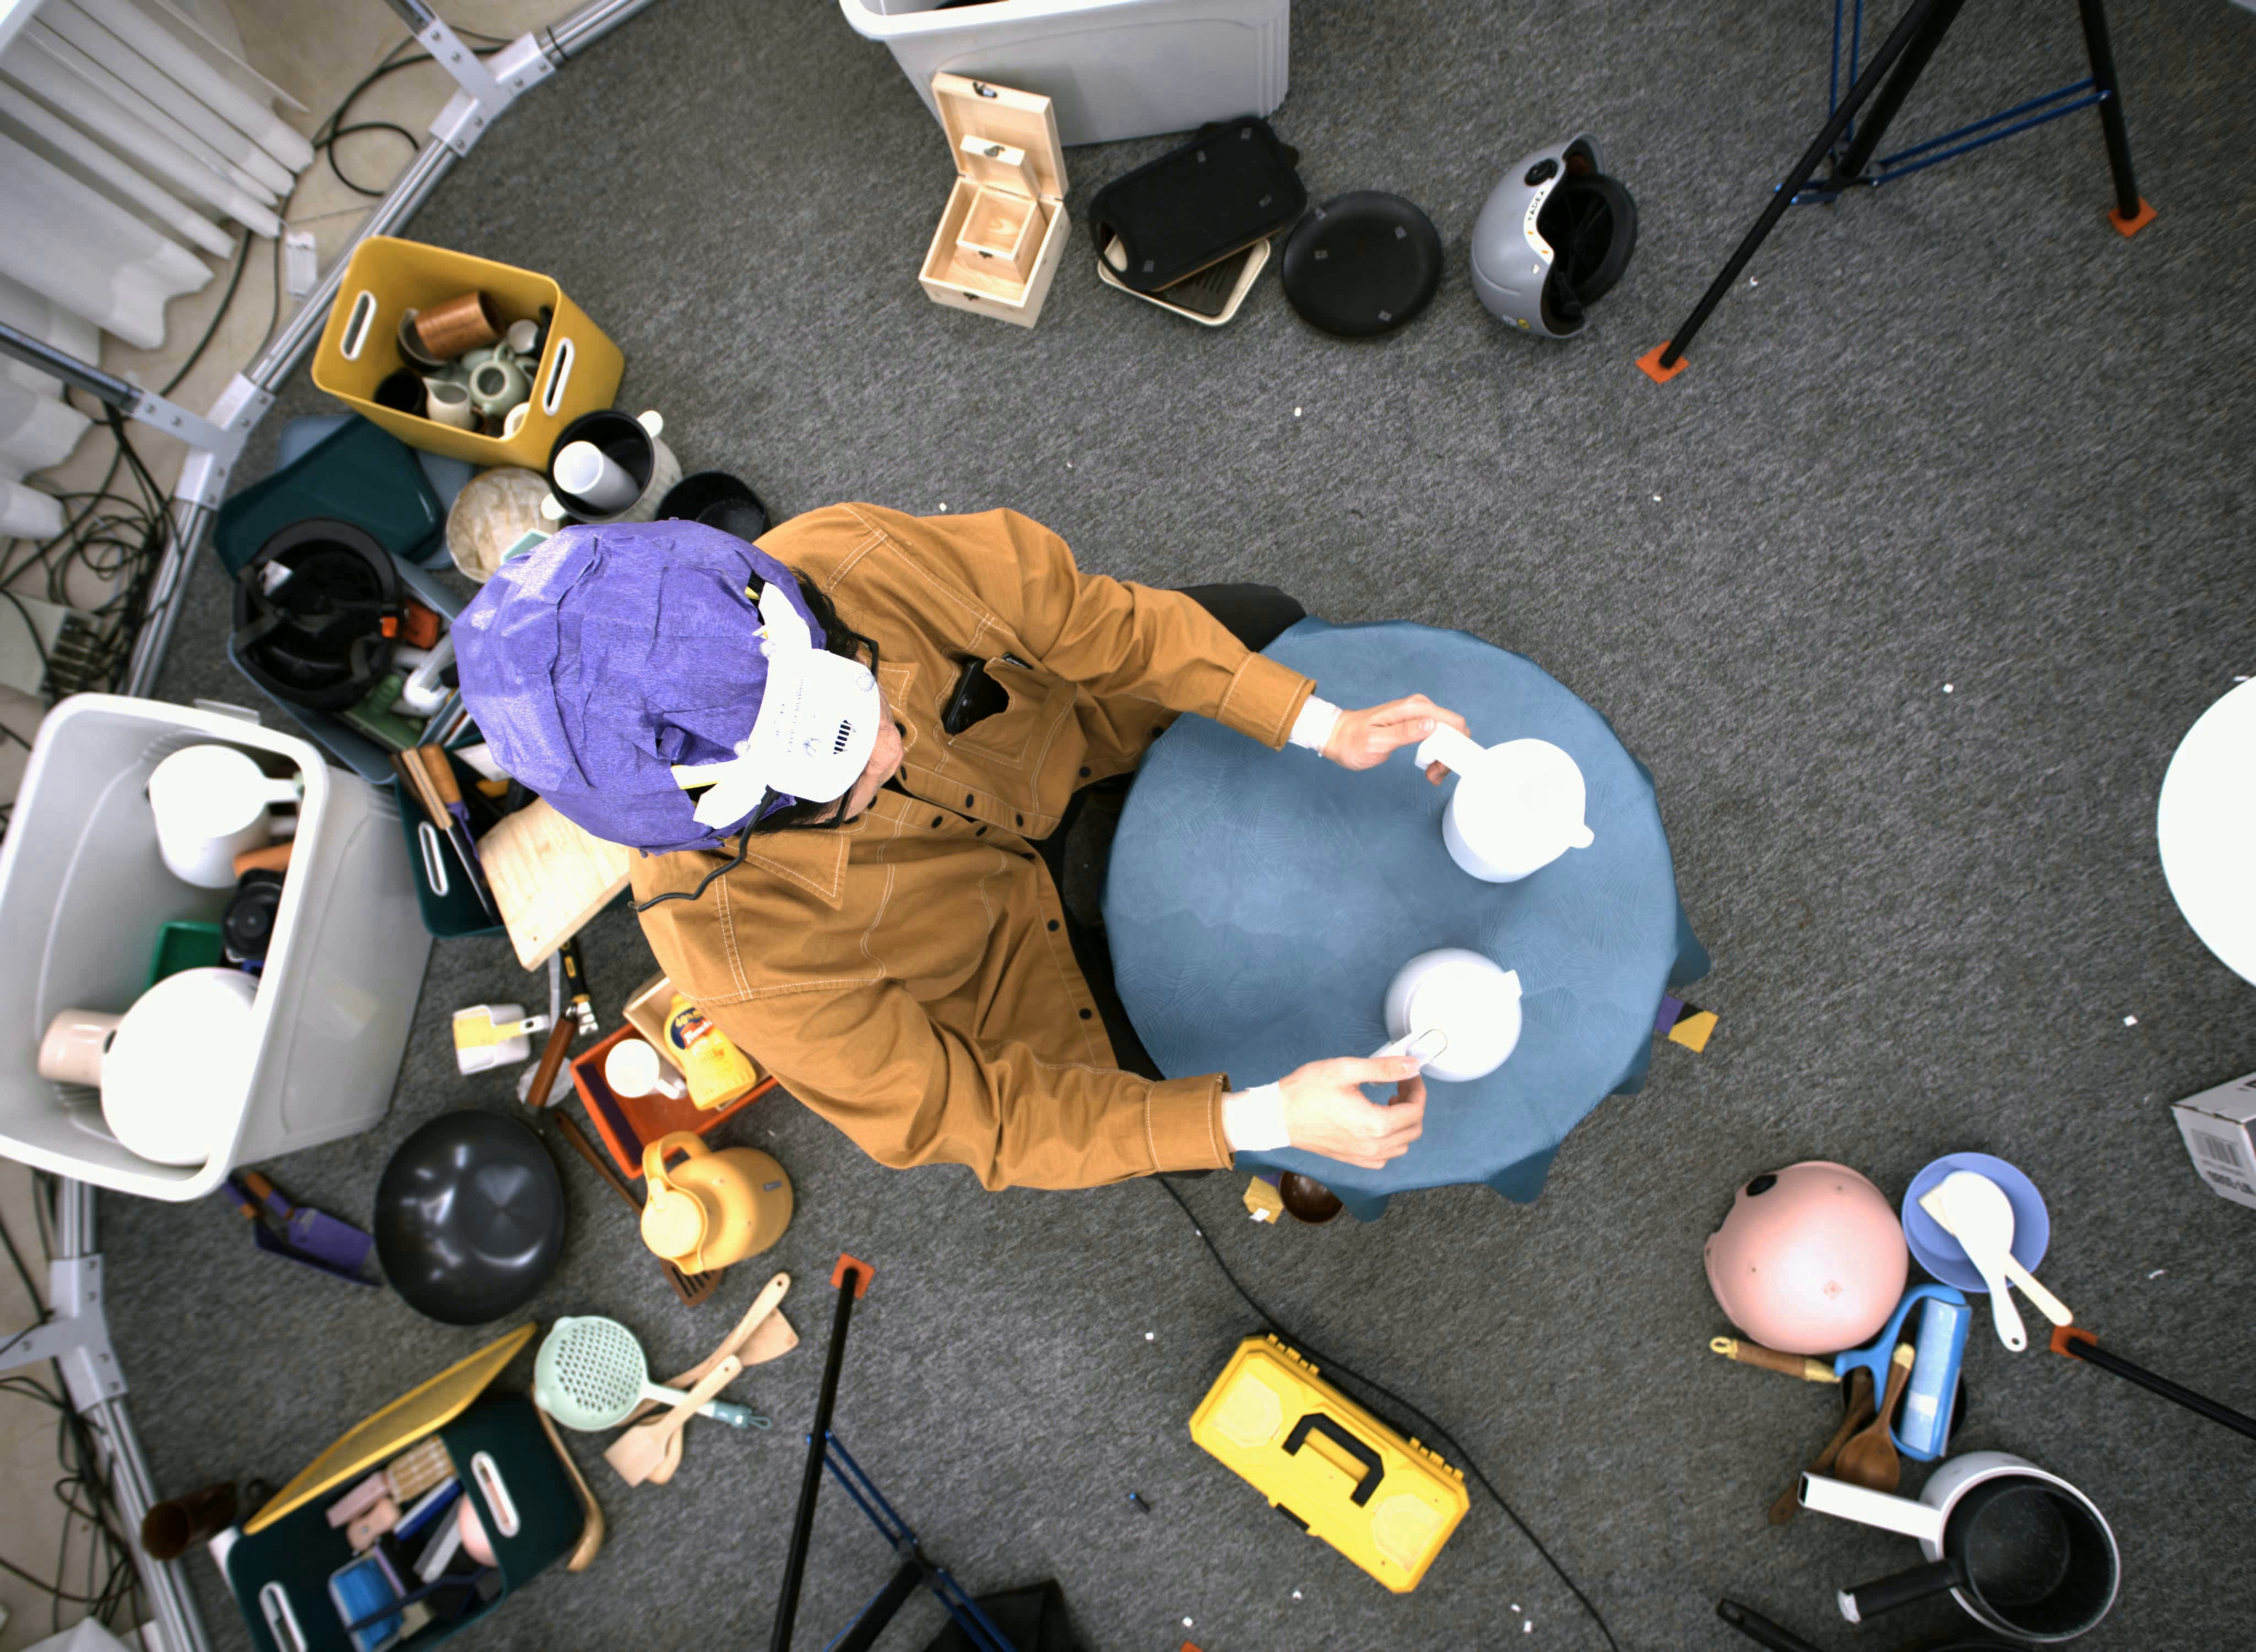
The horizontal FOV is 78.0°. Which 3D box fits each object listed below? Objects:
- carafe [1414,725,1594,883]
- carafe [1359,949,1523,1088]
[{"bbox_3d":[0.351,-0.022,1.314,0.172,0.268,0.124,36,94,11],"label":"carafe"},{"bbox_3d":[0.298,0.193,1.324,0.168,0.249,0.131,-36,80,6],"label":"carafe"}]
